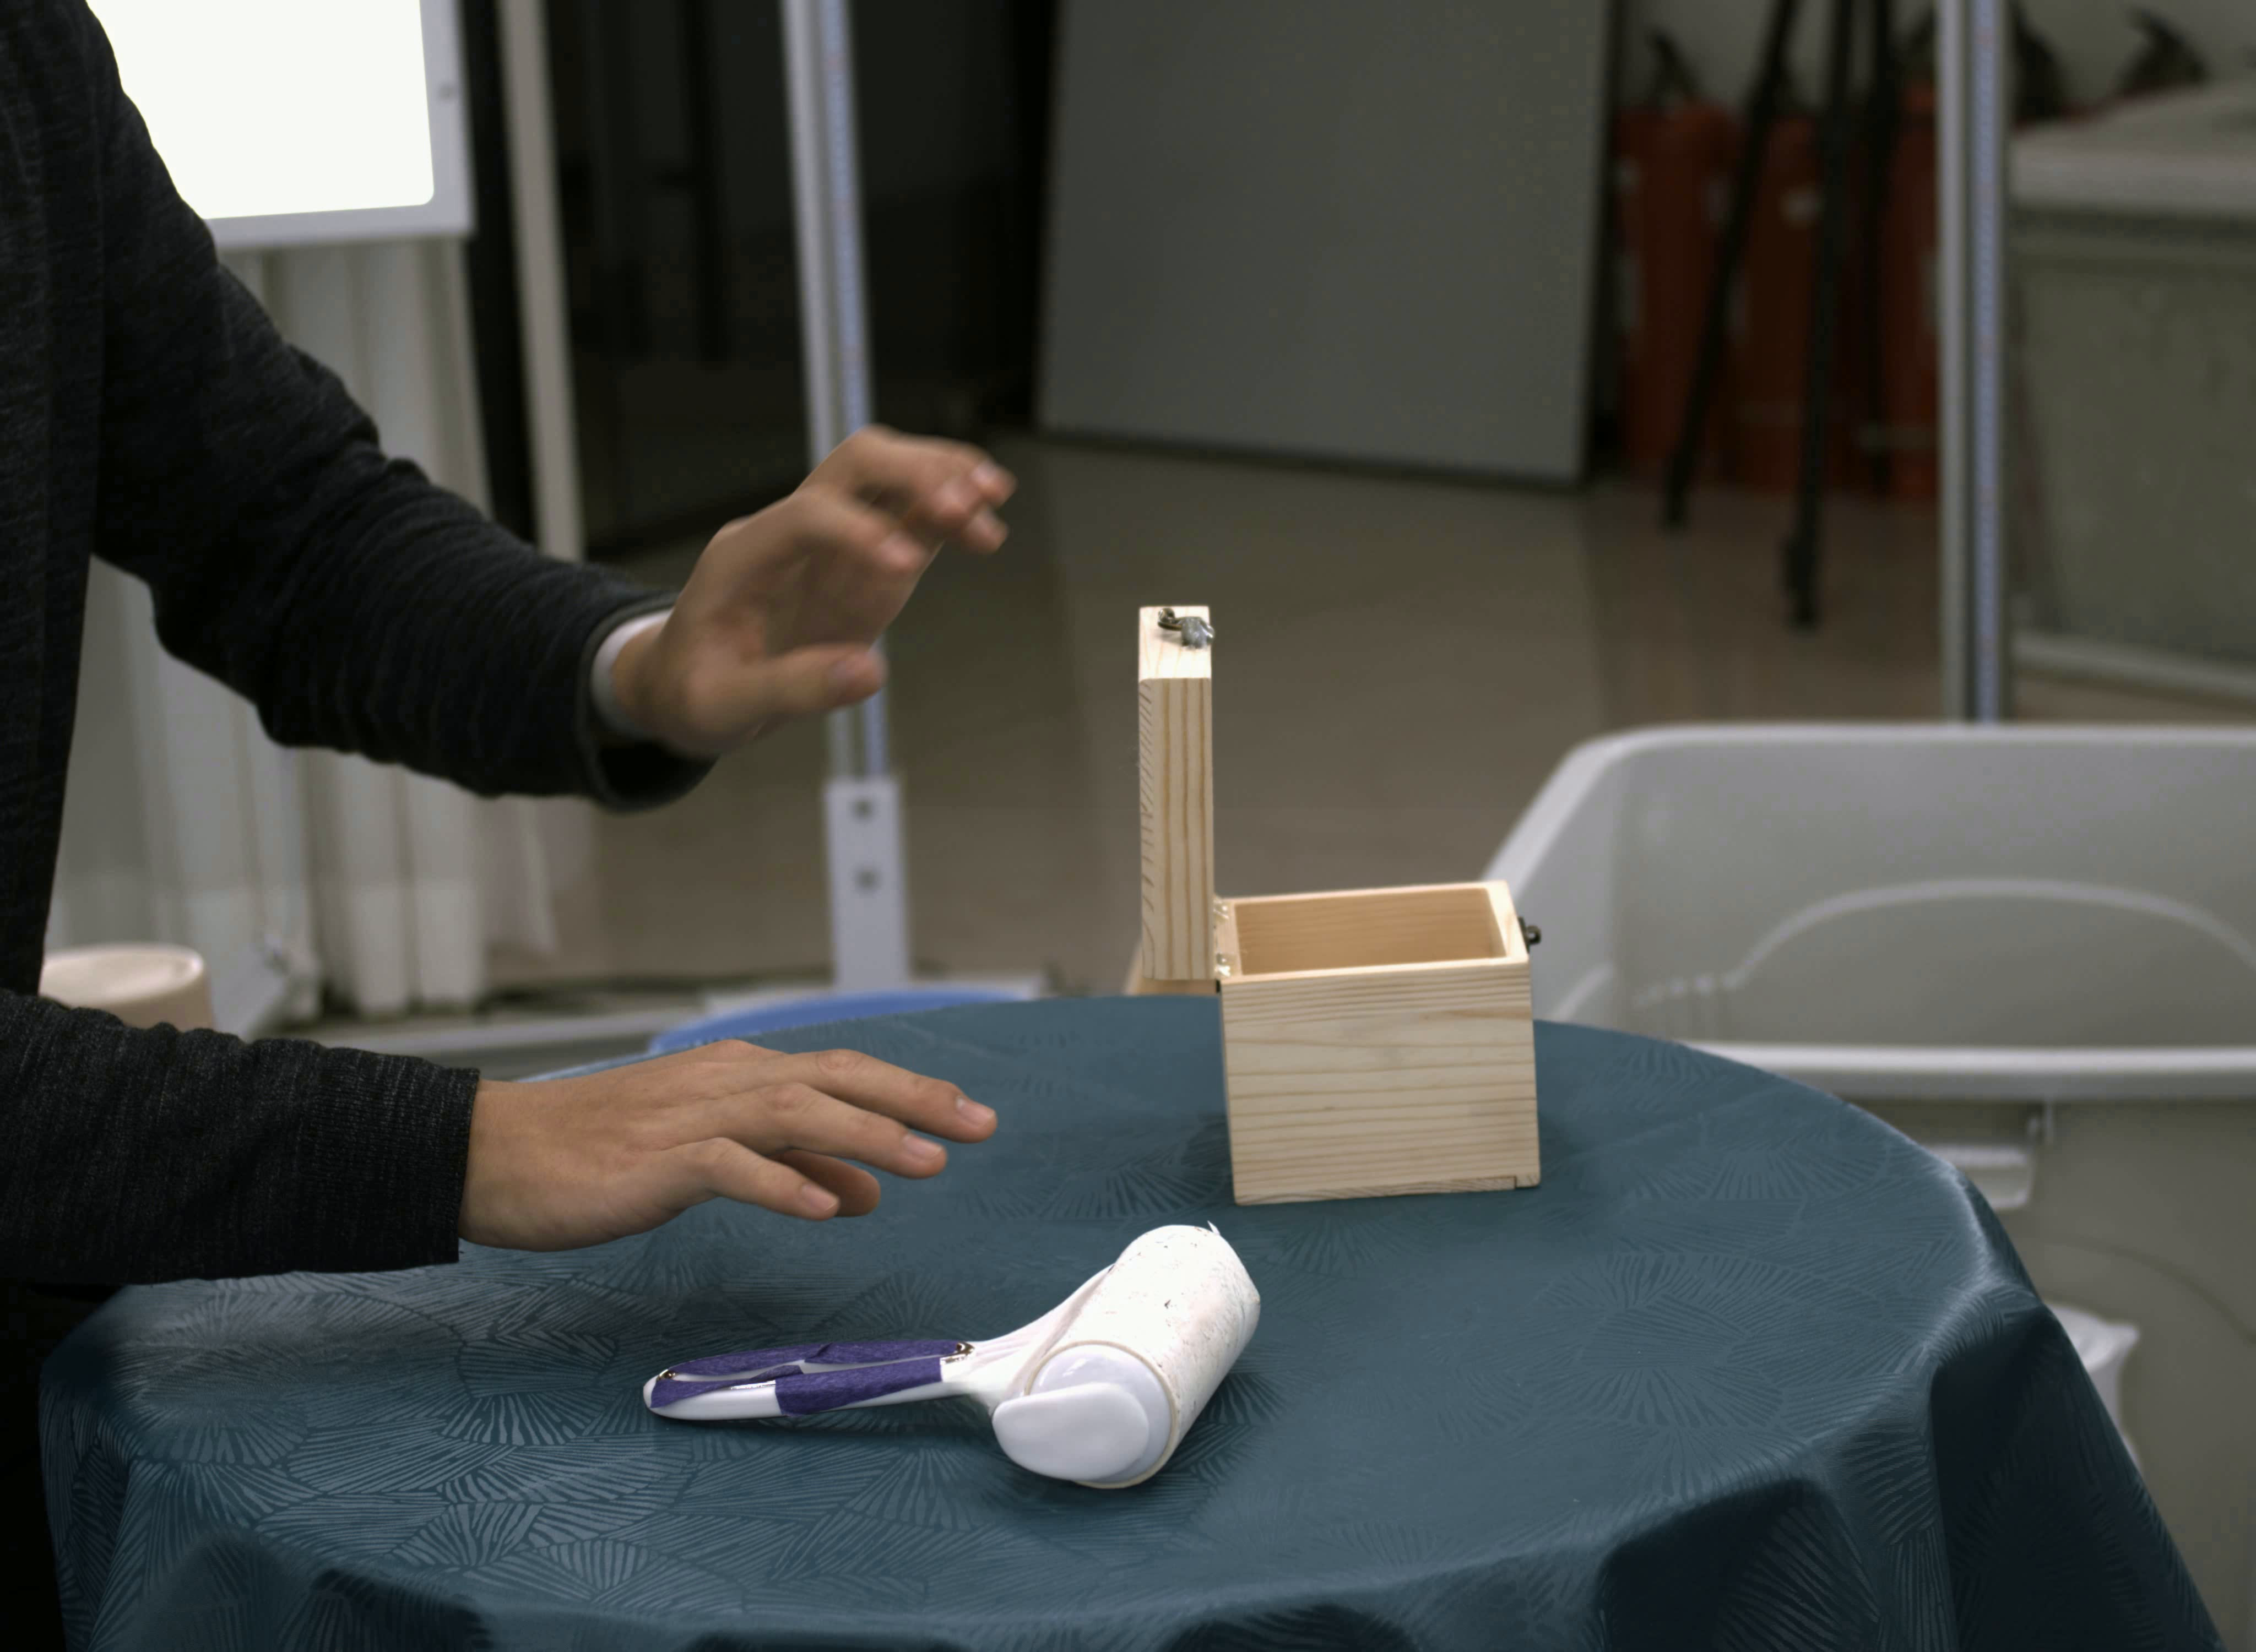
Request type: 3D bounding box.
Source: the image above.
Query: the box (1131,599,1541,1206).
[{"bbox_3d":[0.069,0.020,1.773,0.132,0.186,0.102,-4,13,2],"label":"box"}]

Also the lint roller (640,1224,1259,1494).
[{"bbox_3d":[-0.057,0.150,1.568,0.180,0.051,0.132,2,16,18],"label":"lint roller"}]
